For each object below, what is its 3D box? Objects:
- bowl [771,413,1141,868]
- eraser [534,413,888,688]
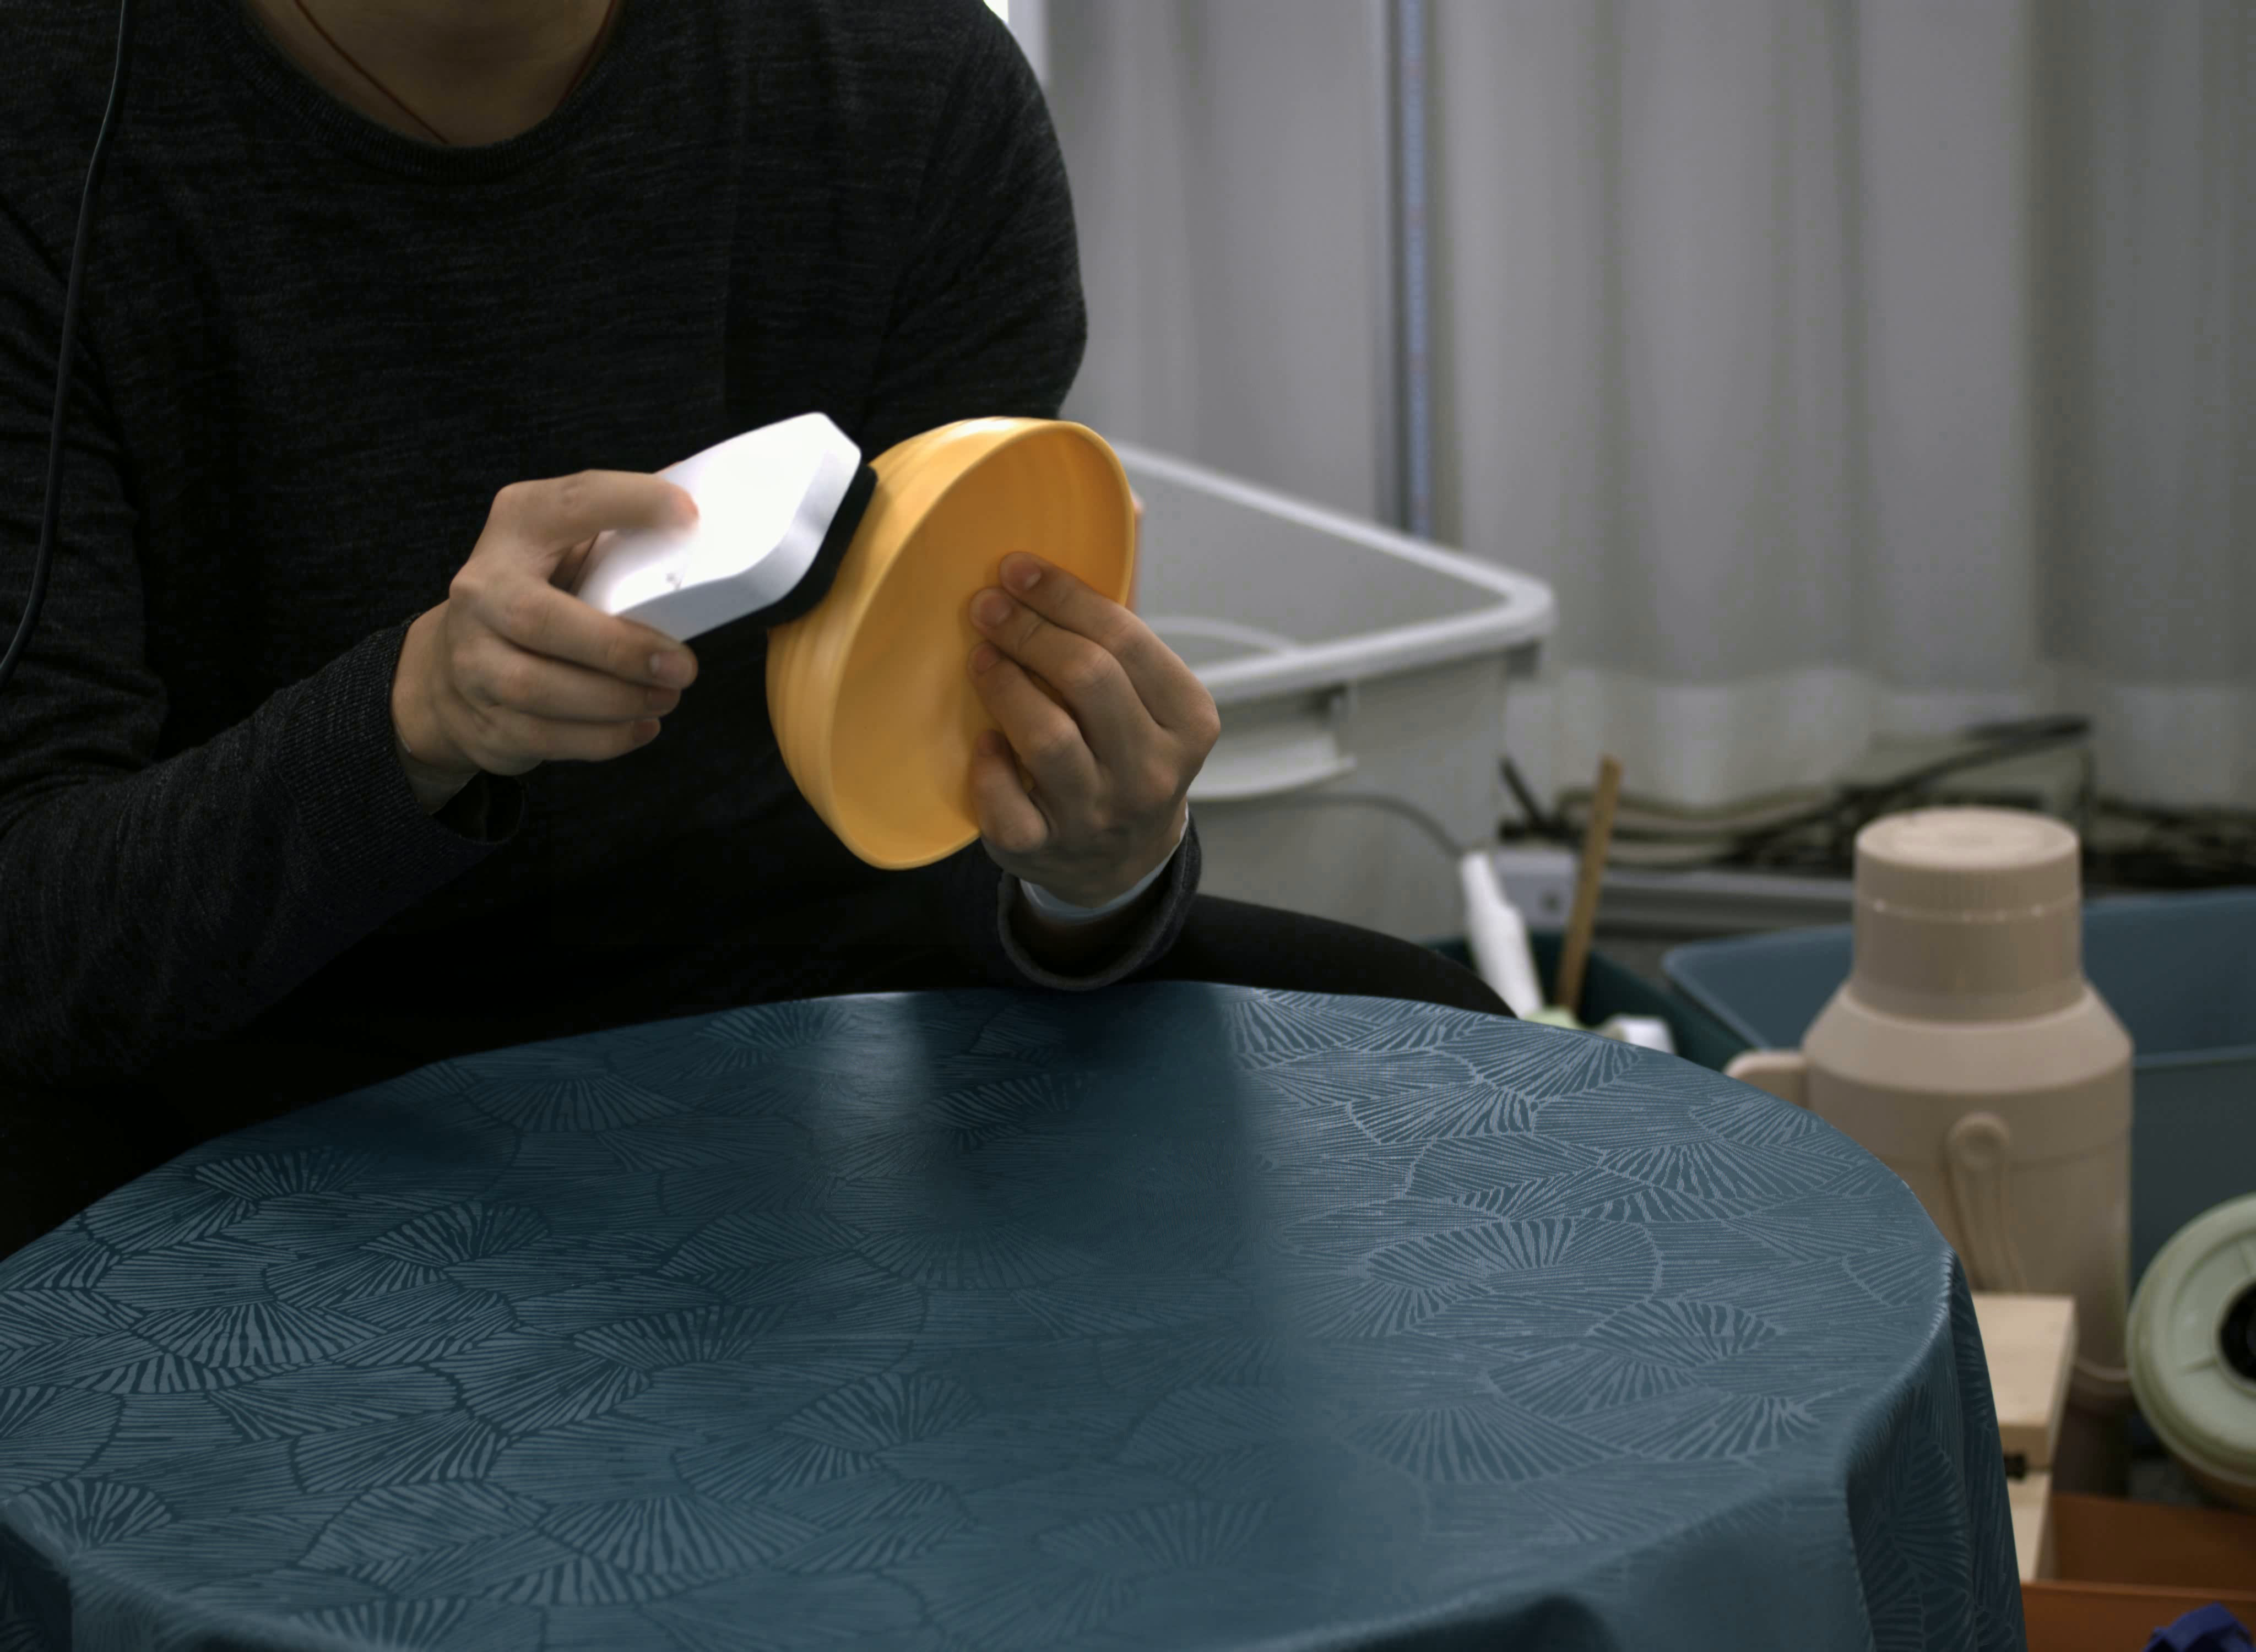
[{"bbox_3d":[-0.063,-0.065,1.642,0.060,0.144,0.145,26,28,29],"label":"bowl"},{"bbox_3d":[-0.125,-0.082,1.616,0.131,0.034,0.064,-17,38,50],"label":"eraser"}]
